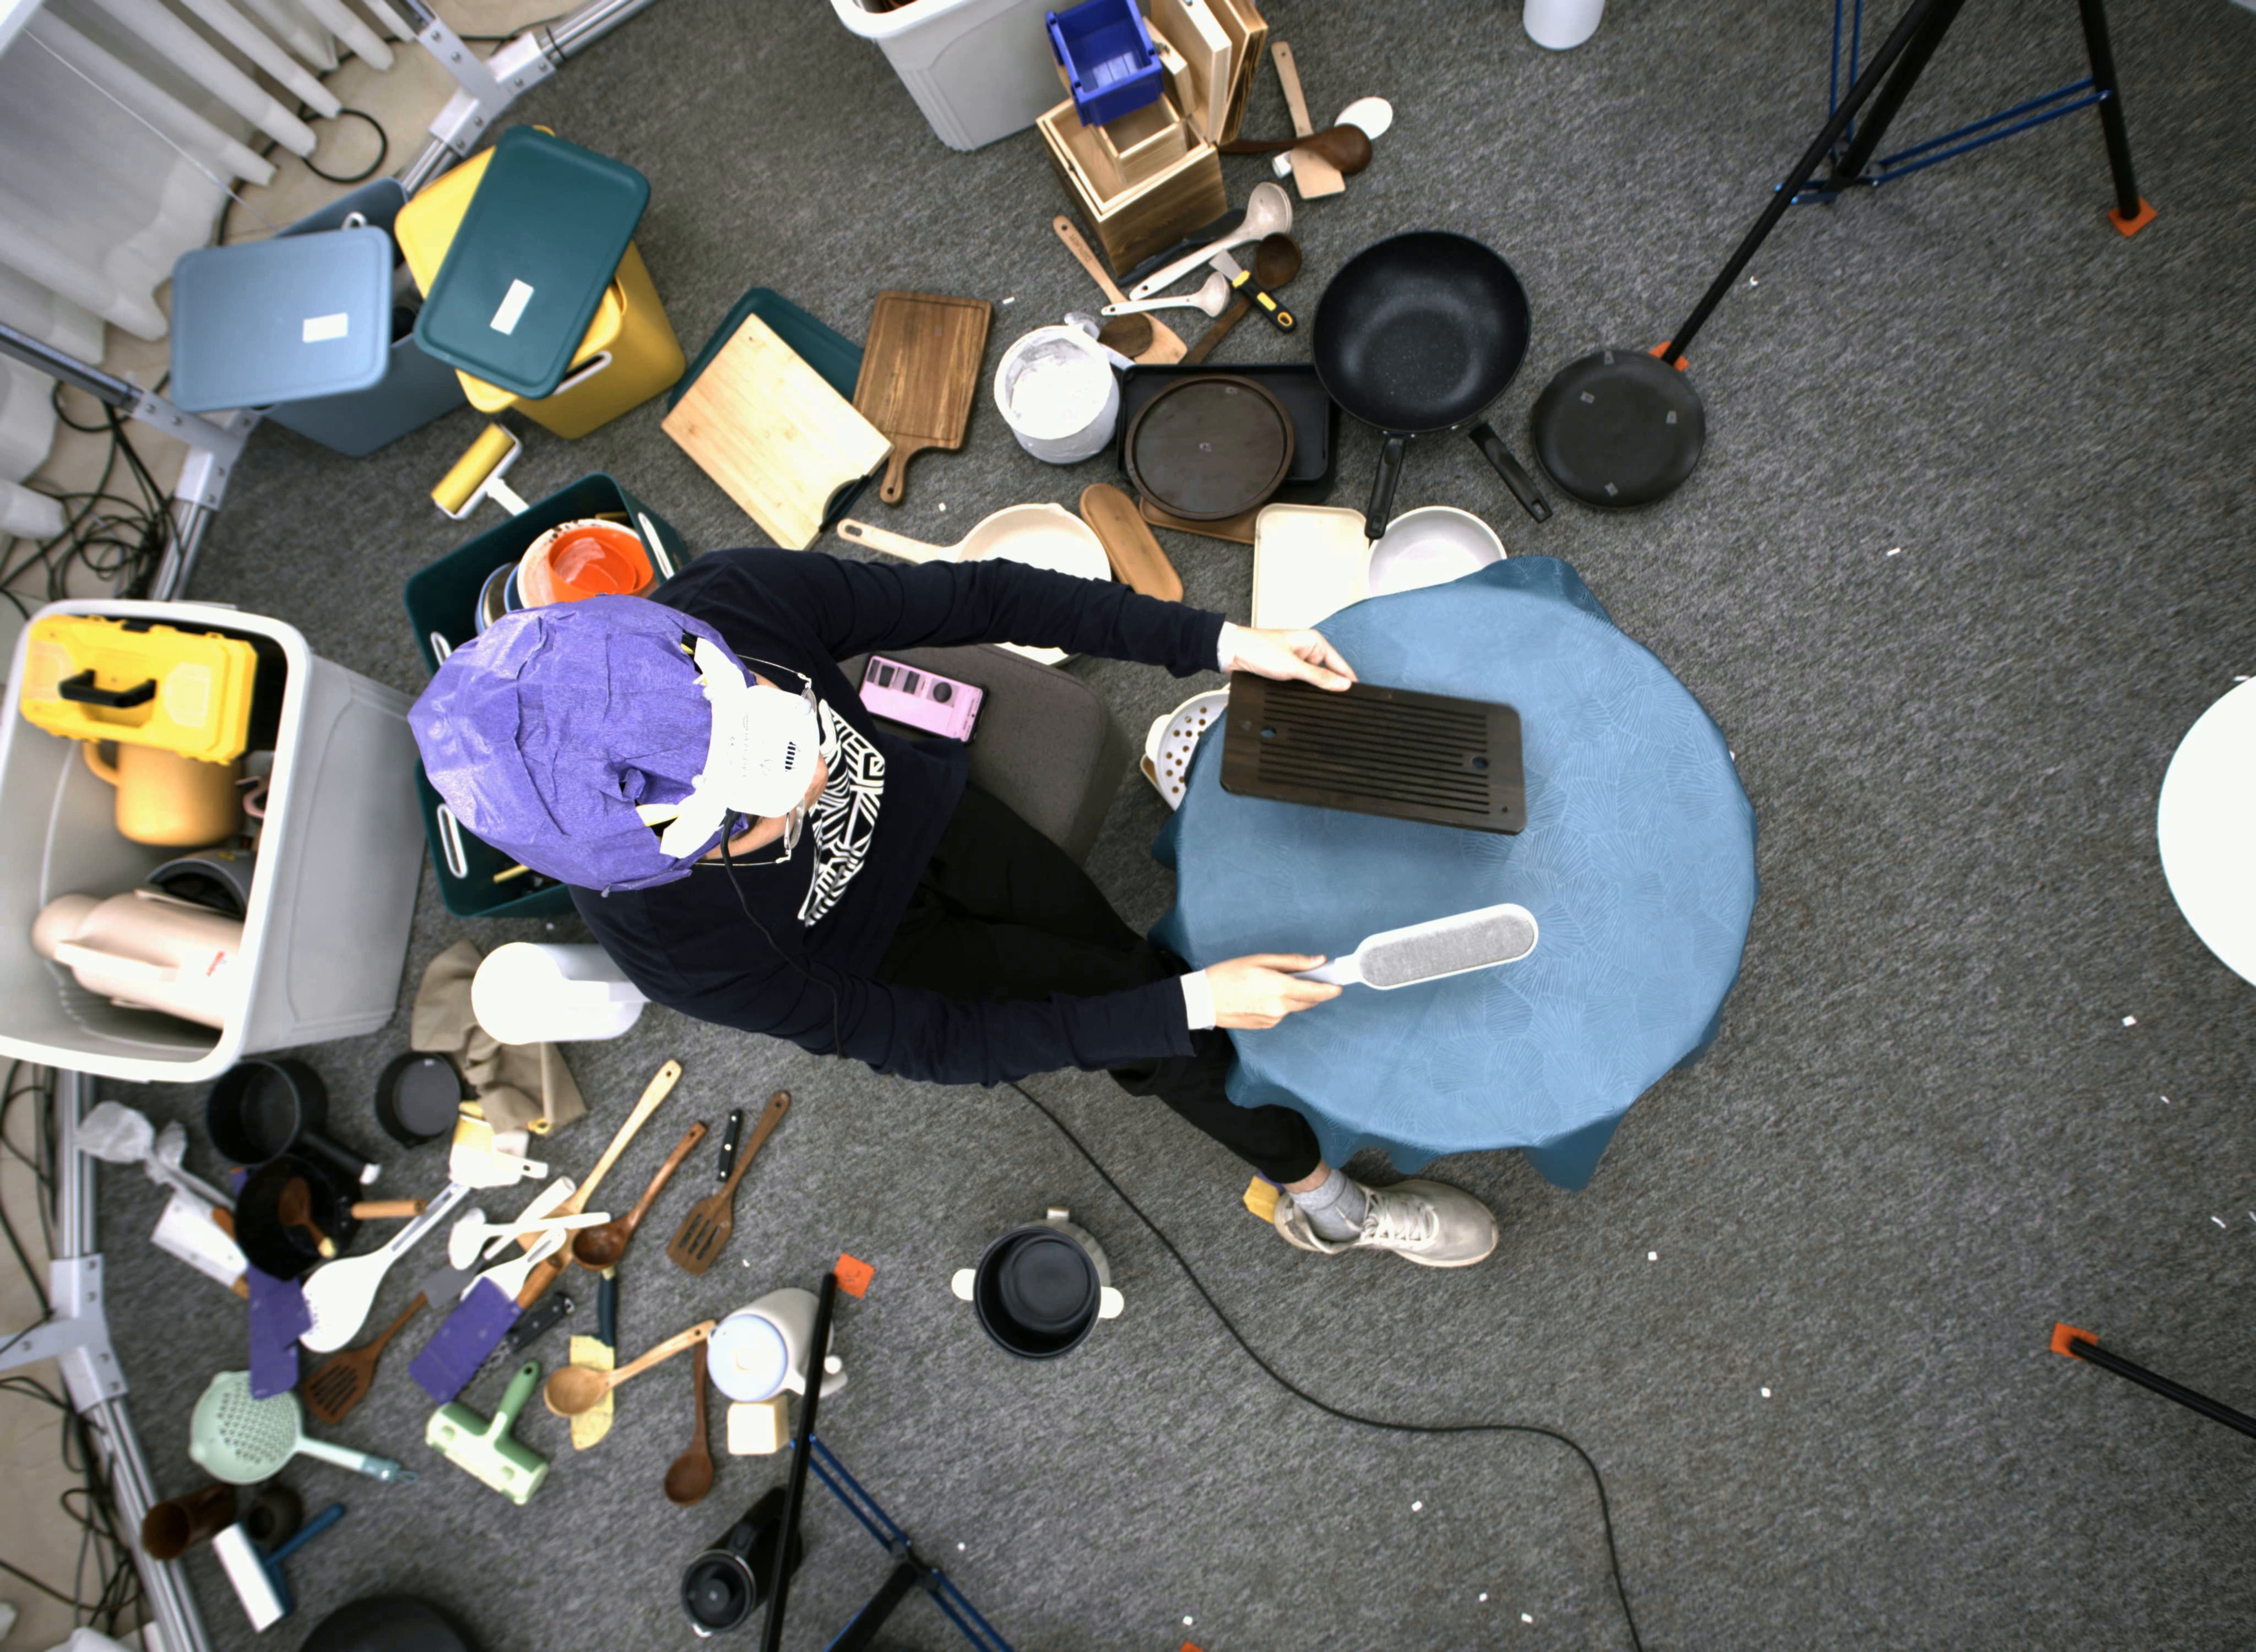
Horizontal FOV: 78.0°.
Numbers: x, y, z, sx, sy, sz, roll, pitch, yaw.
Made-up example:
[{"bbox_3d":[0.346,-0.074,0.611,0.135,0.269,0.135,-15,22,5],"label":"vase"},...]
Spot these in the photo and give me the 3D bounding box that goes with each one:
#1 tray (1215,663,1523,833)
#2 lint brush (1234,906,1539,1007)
[{"bbox_3d":[0.244,-0.080,1.388,0.306,0.019,0.165,9,52,1],"label":"tray"},{"bbox_3d":[0.252,0.133,1.367,0.311,0.020,0.061,-15,111,17],"label":"lint brush"}]
